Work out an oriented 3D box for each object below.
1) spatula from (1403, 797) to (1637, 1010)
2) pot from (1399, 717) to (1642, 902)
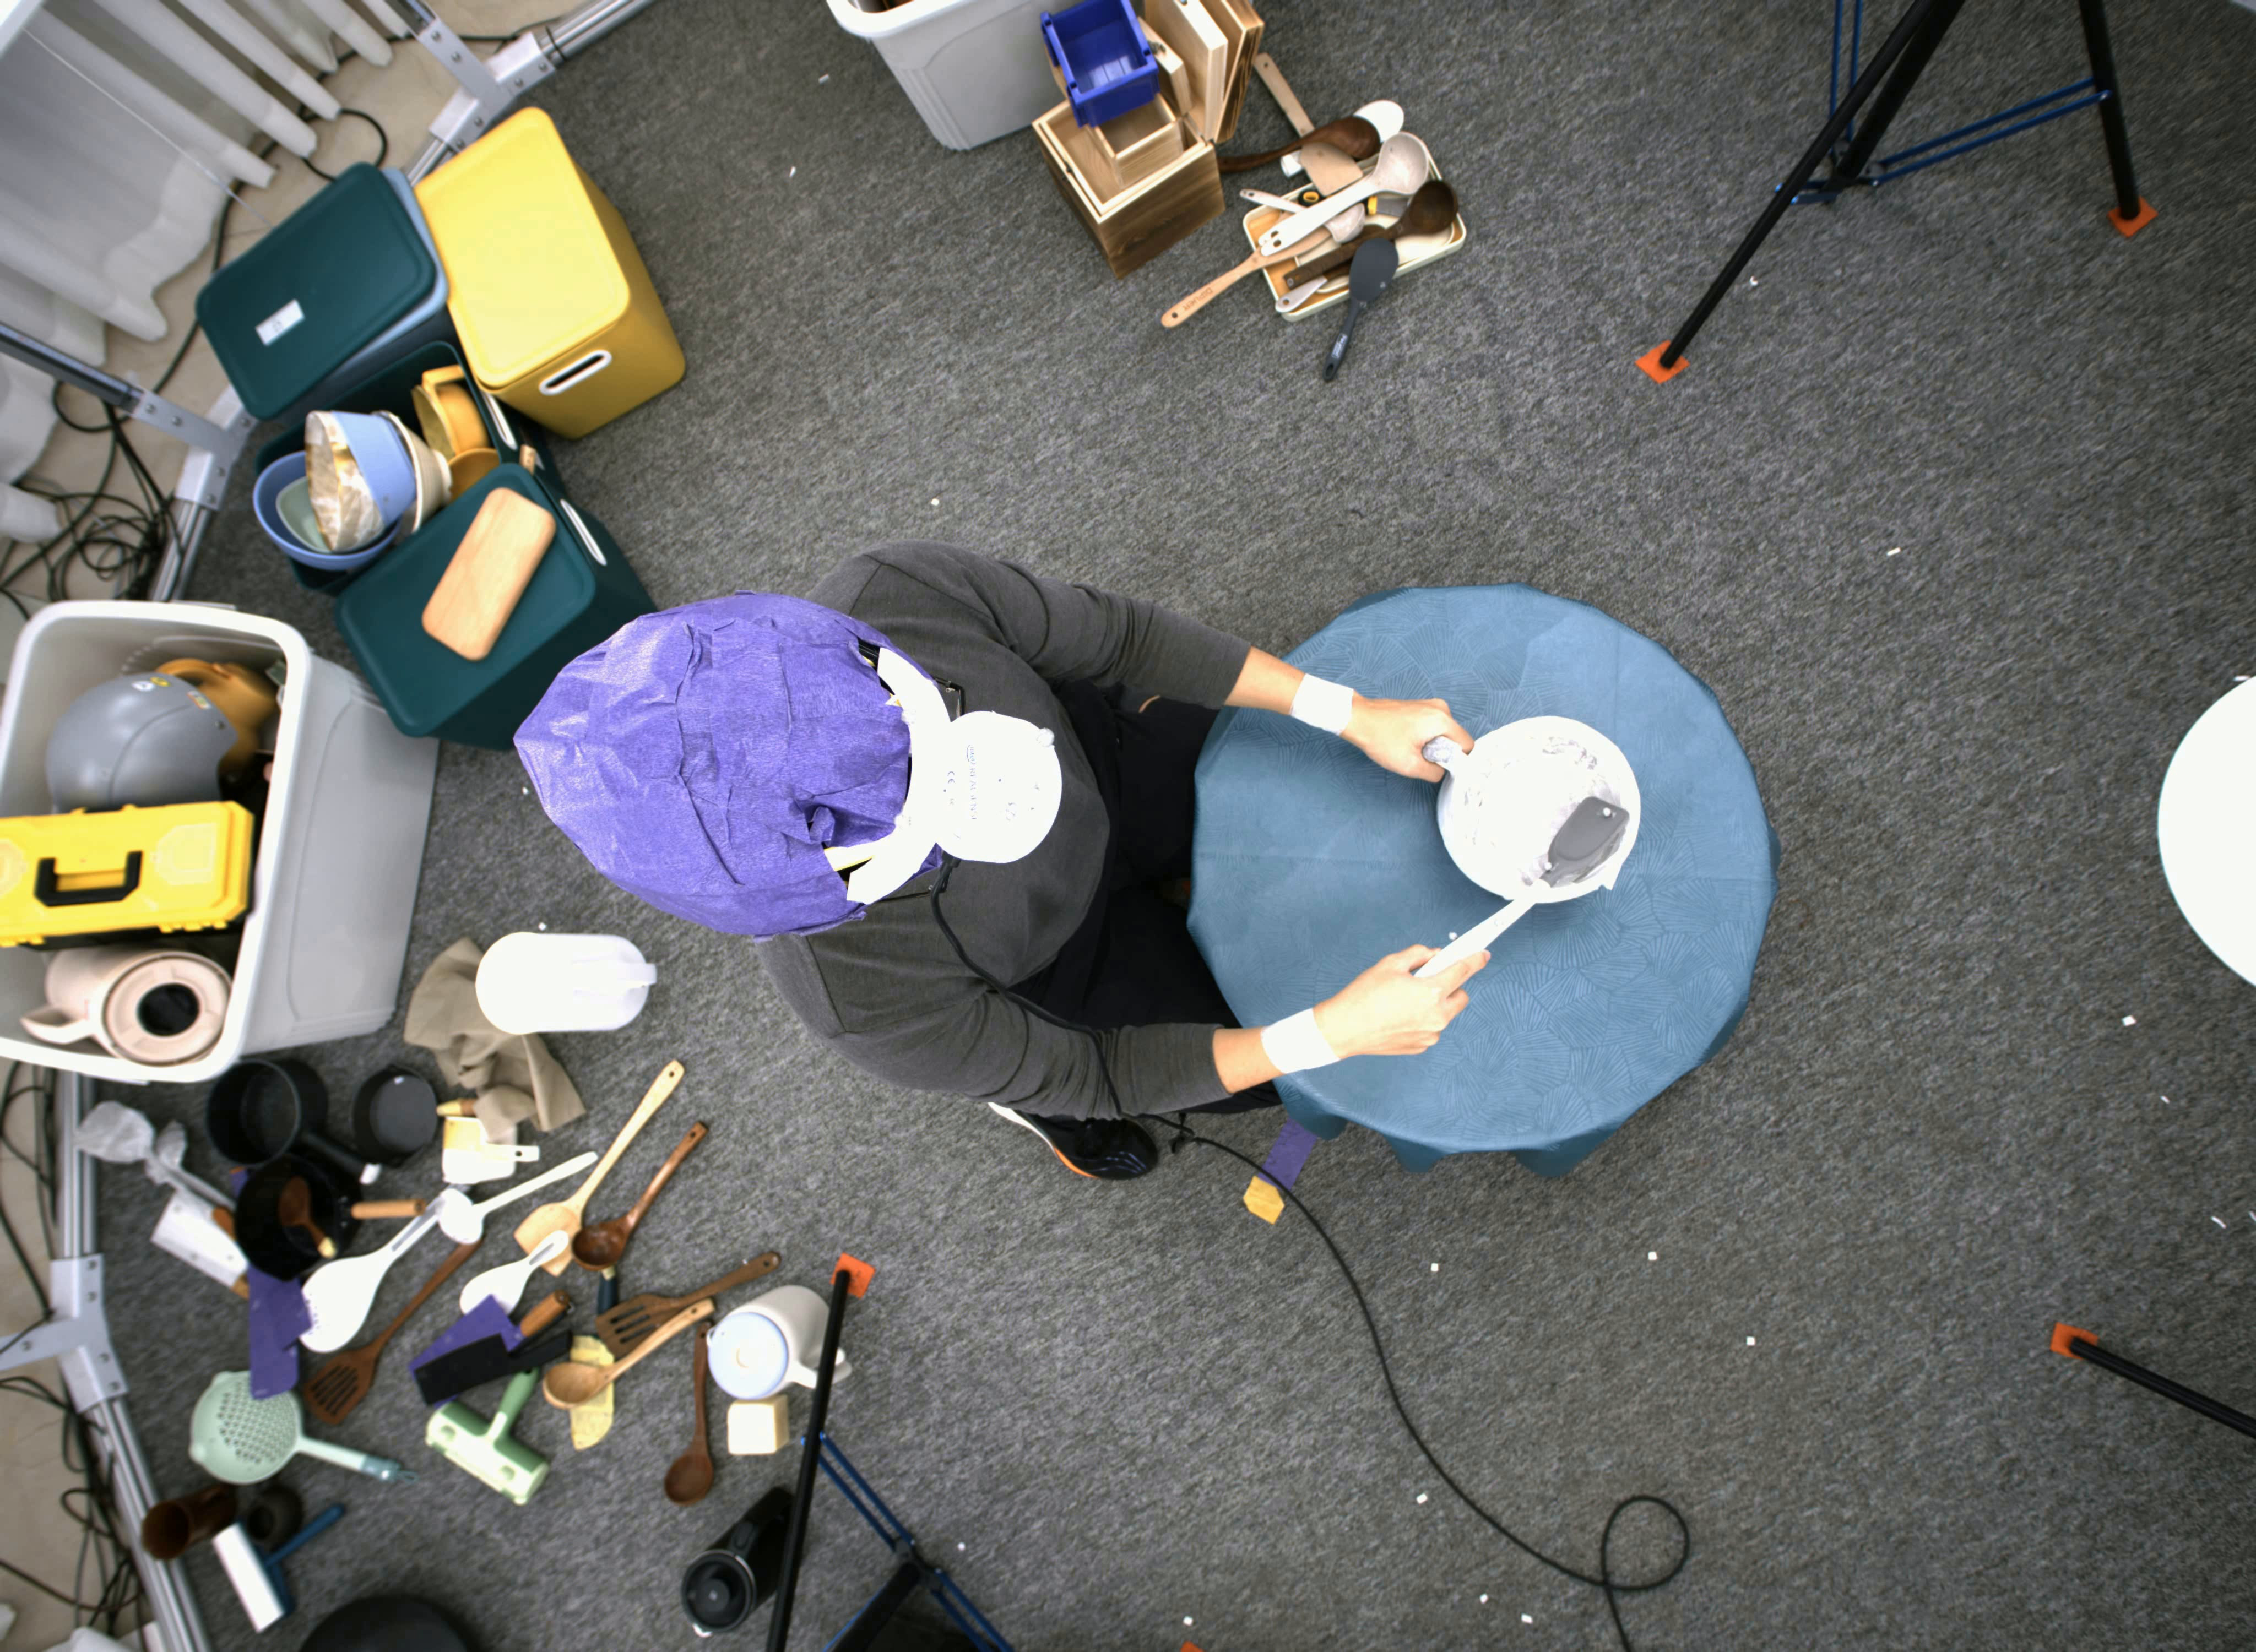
[{"bbox_3d":[0.366,0.067,1.282,0.284,0.033,0.058,-39,38,-16],"label":"spatula"},{"bbox_3d":[0.379,-0.030,1.366,0.233,0.136,0.179,30,93,4],"label":"pot"}]
